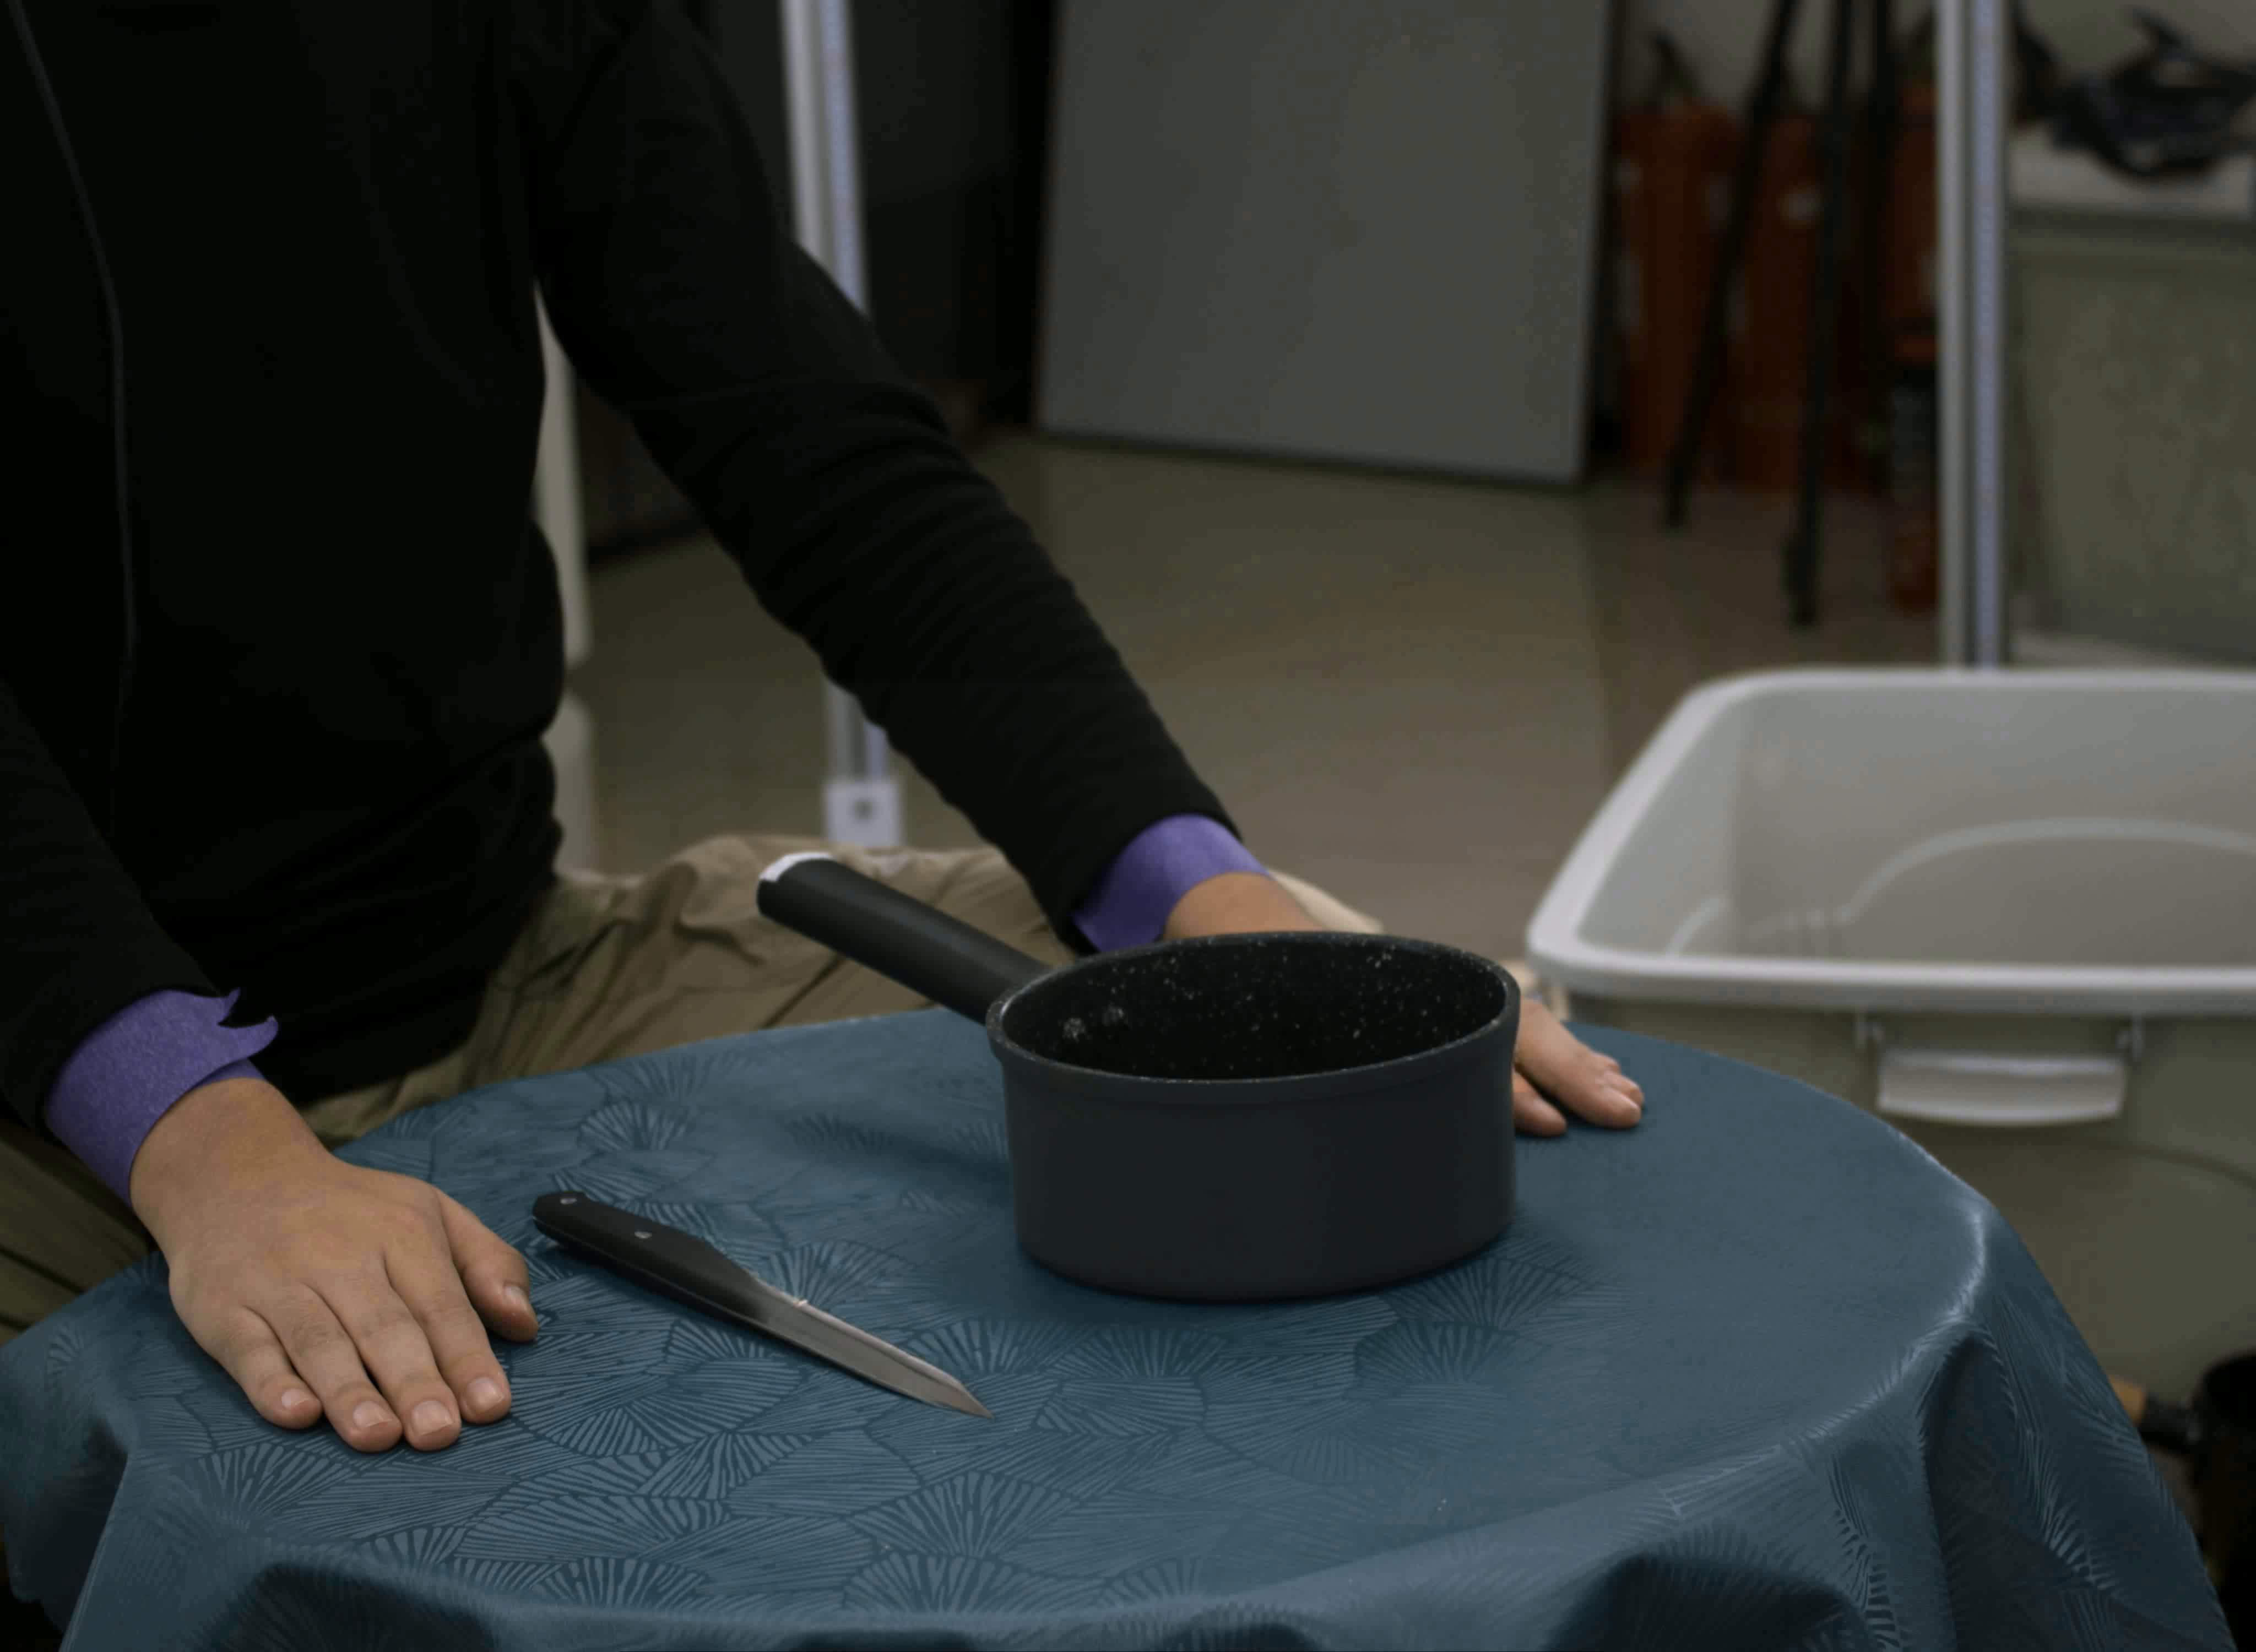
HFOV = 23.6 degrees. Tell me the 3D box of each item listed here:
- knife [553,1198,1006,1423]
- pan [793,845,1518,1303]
[{"bbox_3d":[-0.111,0.151,1.667,0.024,0.016,0.241,-11,18,-36],"label":"knife"},{"bbox_3d":[-0.007,0.076,1.782,0.168,0.087,0.332,-14,17,-35],"label":"pan"}]
